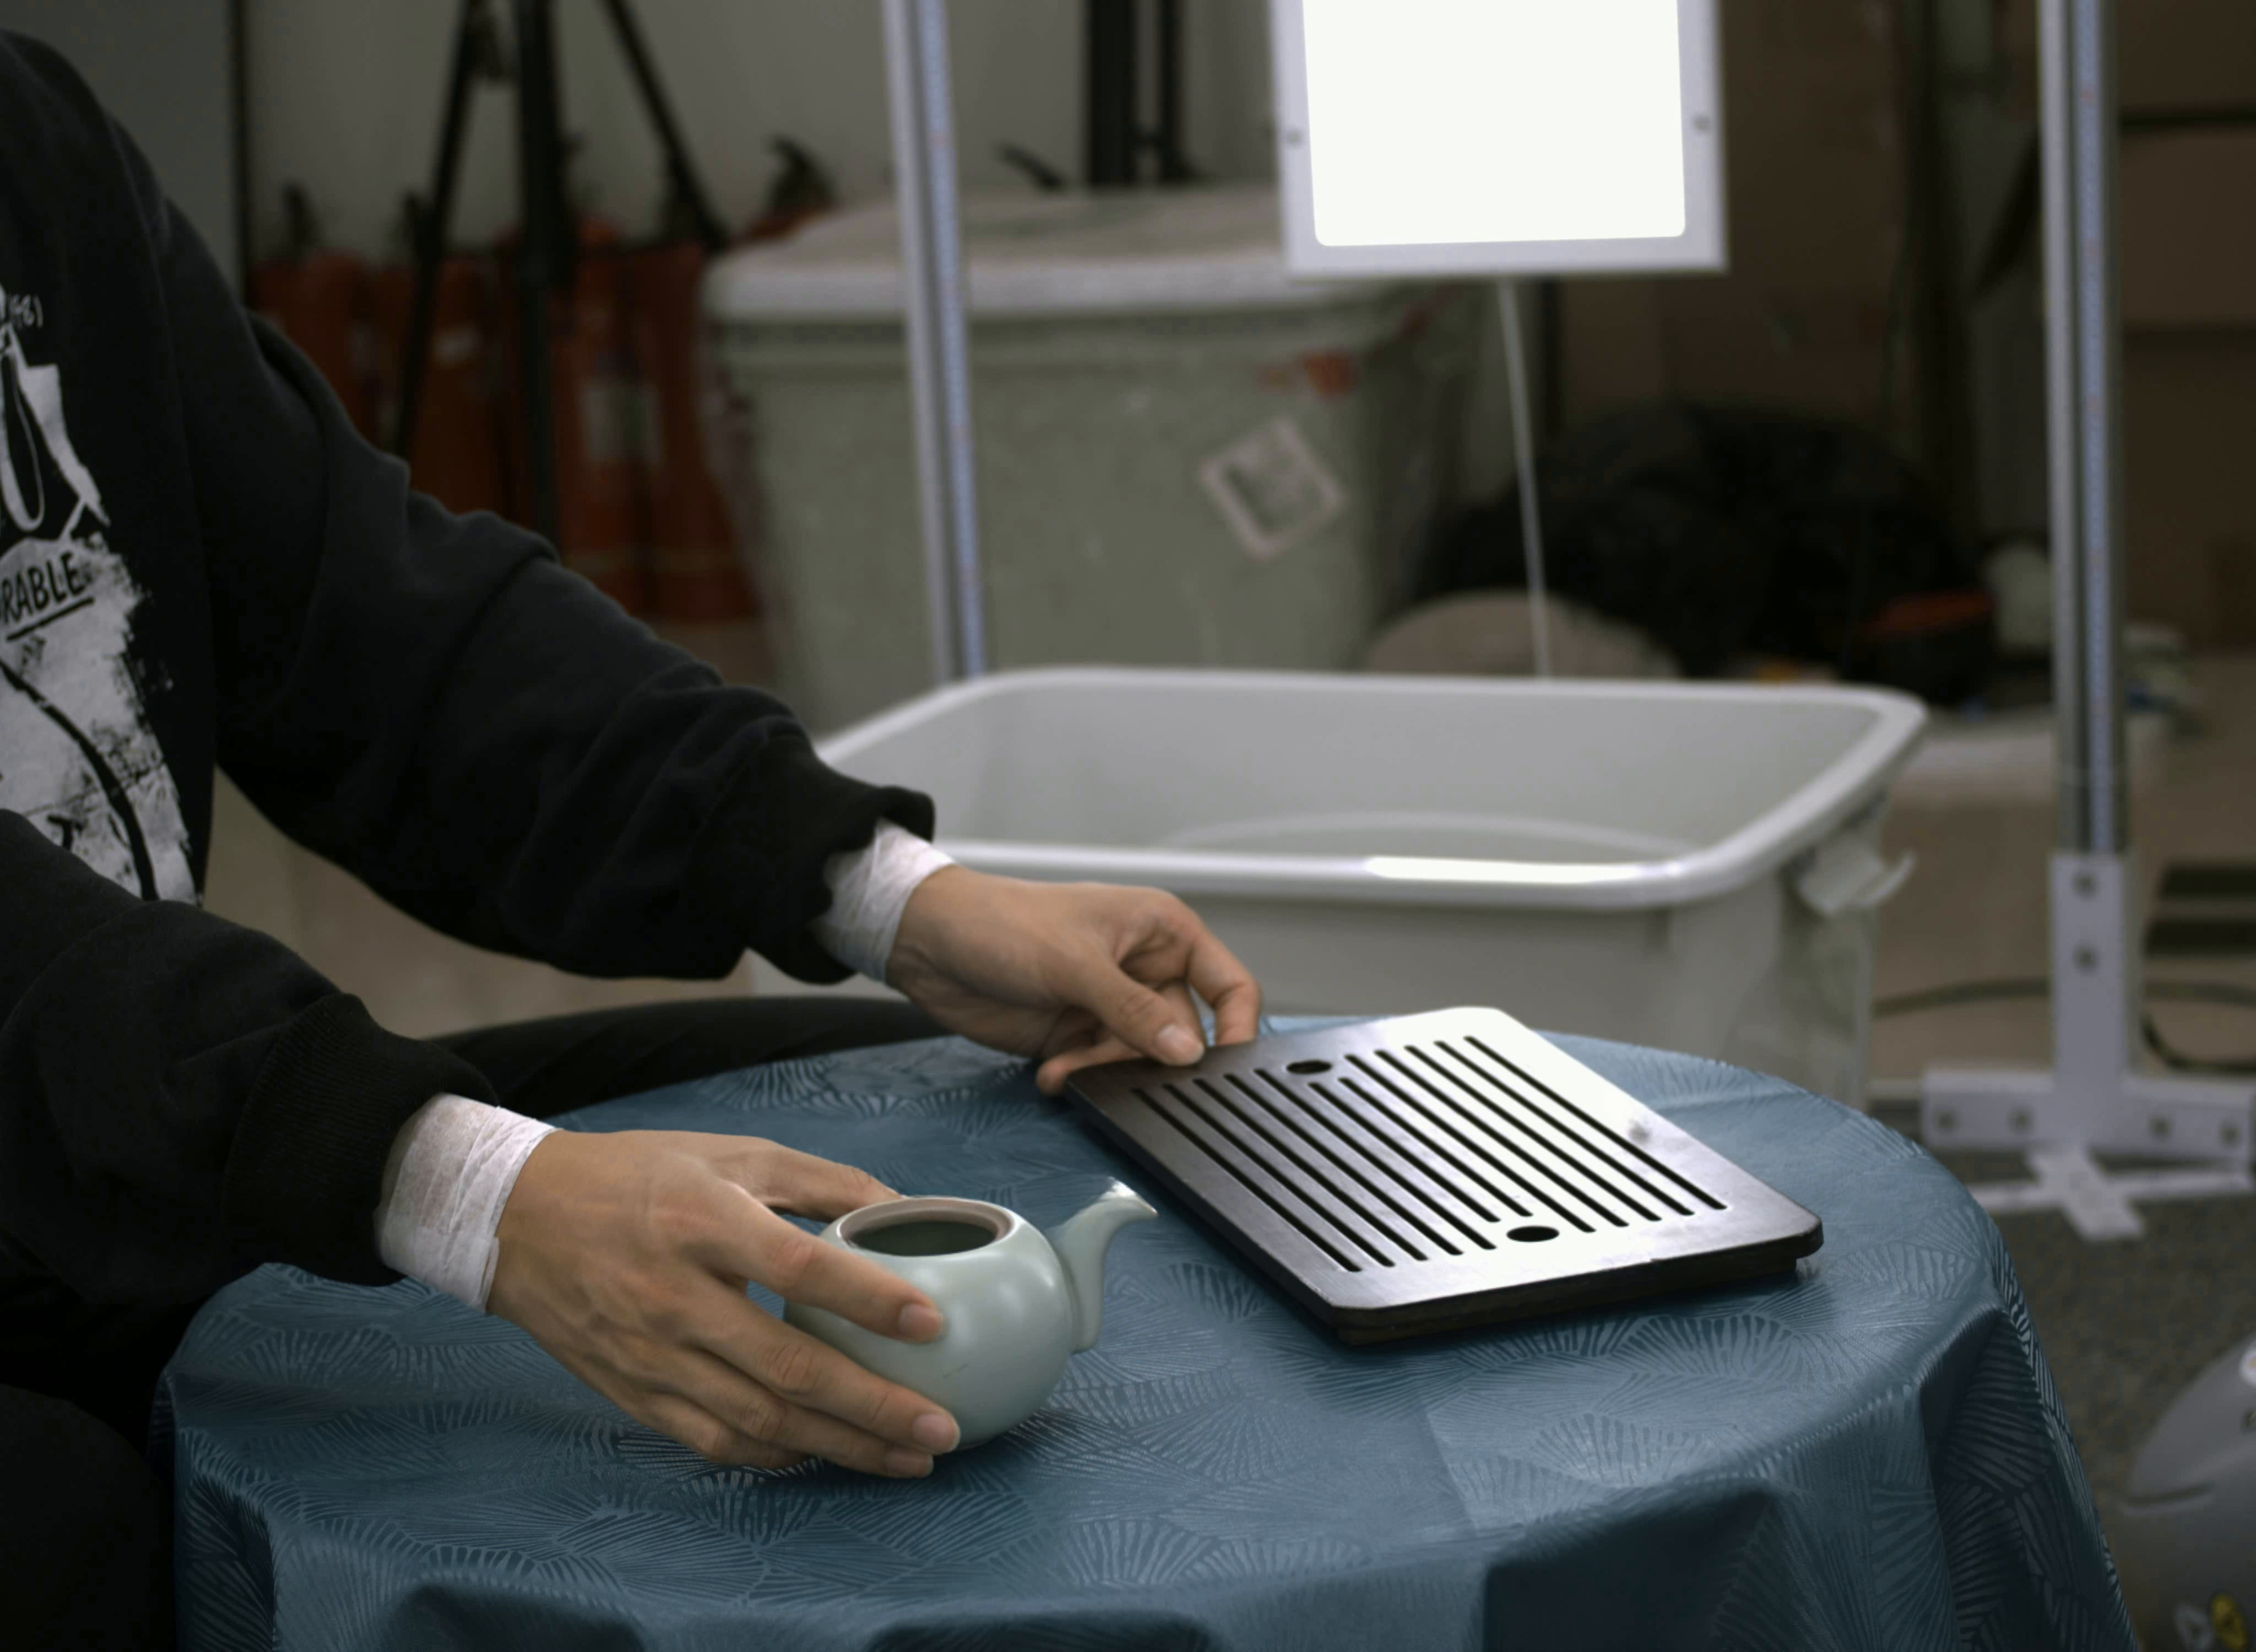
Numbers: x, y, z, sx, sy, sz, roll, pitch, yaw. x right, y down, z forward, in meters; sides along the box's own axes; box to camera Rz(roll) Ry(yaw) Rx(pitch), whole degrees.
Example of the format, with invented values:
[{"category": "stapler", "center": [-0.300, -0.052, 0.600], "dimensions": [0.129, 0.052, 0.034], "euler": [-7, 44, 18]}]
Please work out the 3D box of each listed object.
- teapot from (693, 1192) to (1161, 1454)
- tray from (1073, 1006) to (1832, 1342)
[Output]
[{"category": "teapot", "center": [-0.061, 0.149, 1.672], "dimensions": [0.142, 0.075, 0.089], "euler": [-1, 14, -8]}, {"category": "tray", "center": [0.104, 0.115, 1.869], "dimensions": [0.167, 0.019, 0.309], "euler": [-9, 14, -15]}]
